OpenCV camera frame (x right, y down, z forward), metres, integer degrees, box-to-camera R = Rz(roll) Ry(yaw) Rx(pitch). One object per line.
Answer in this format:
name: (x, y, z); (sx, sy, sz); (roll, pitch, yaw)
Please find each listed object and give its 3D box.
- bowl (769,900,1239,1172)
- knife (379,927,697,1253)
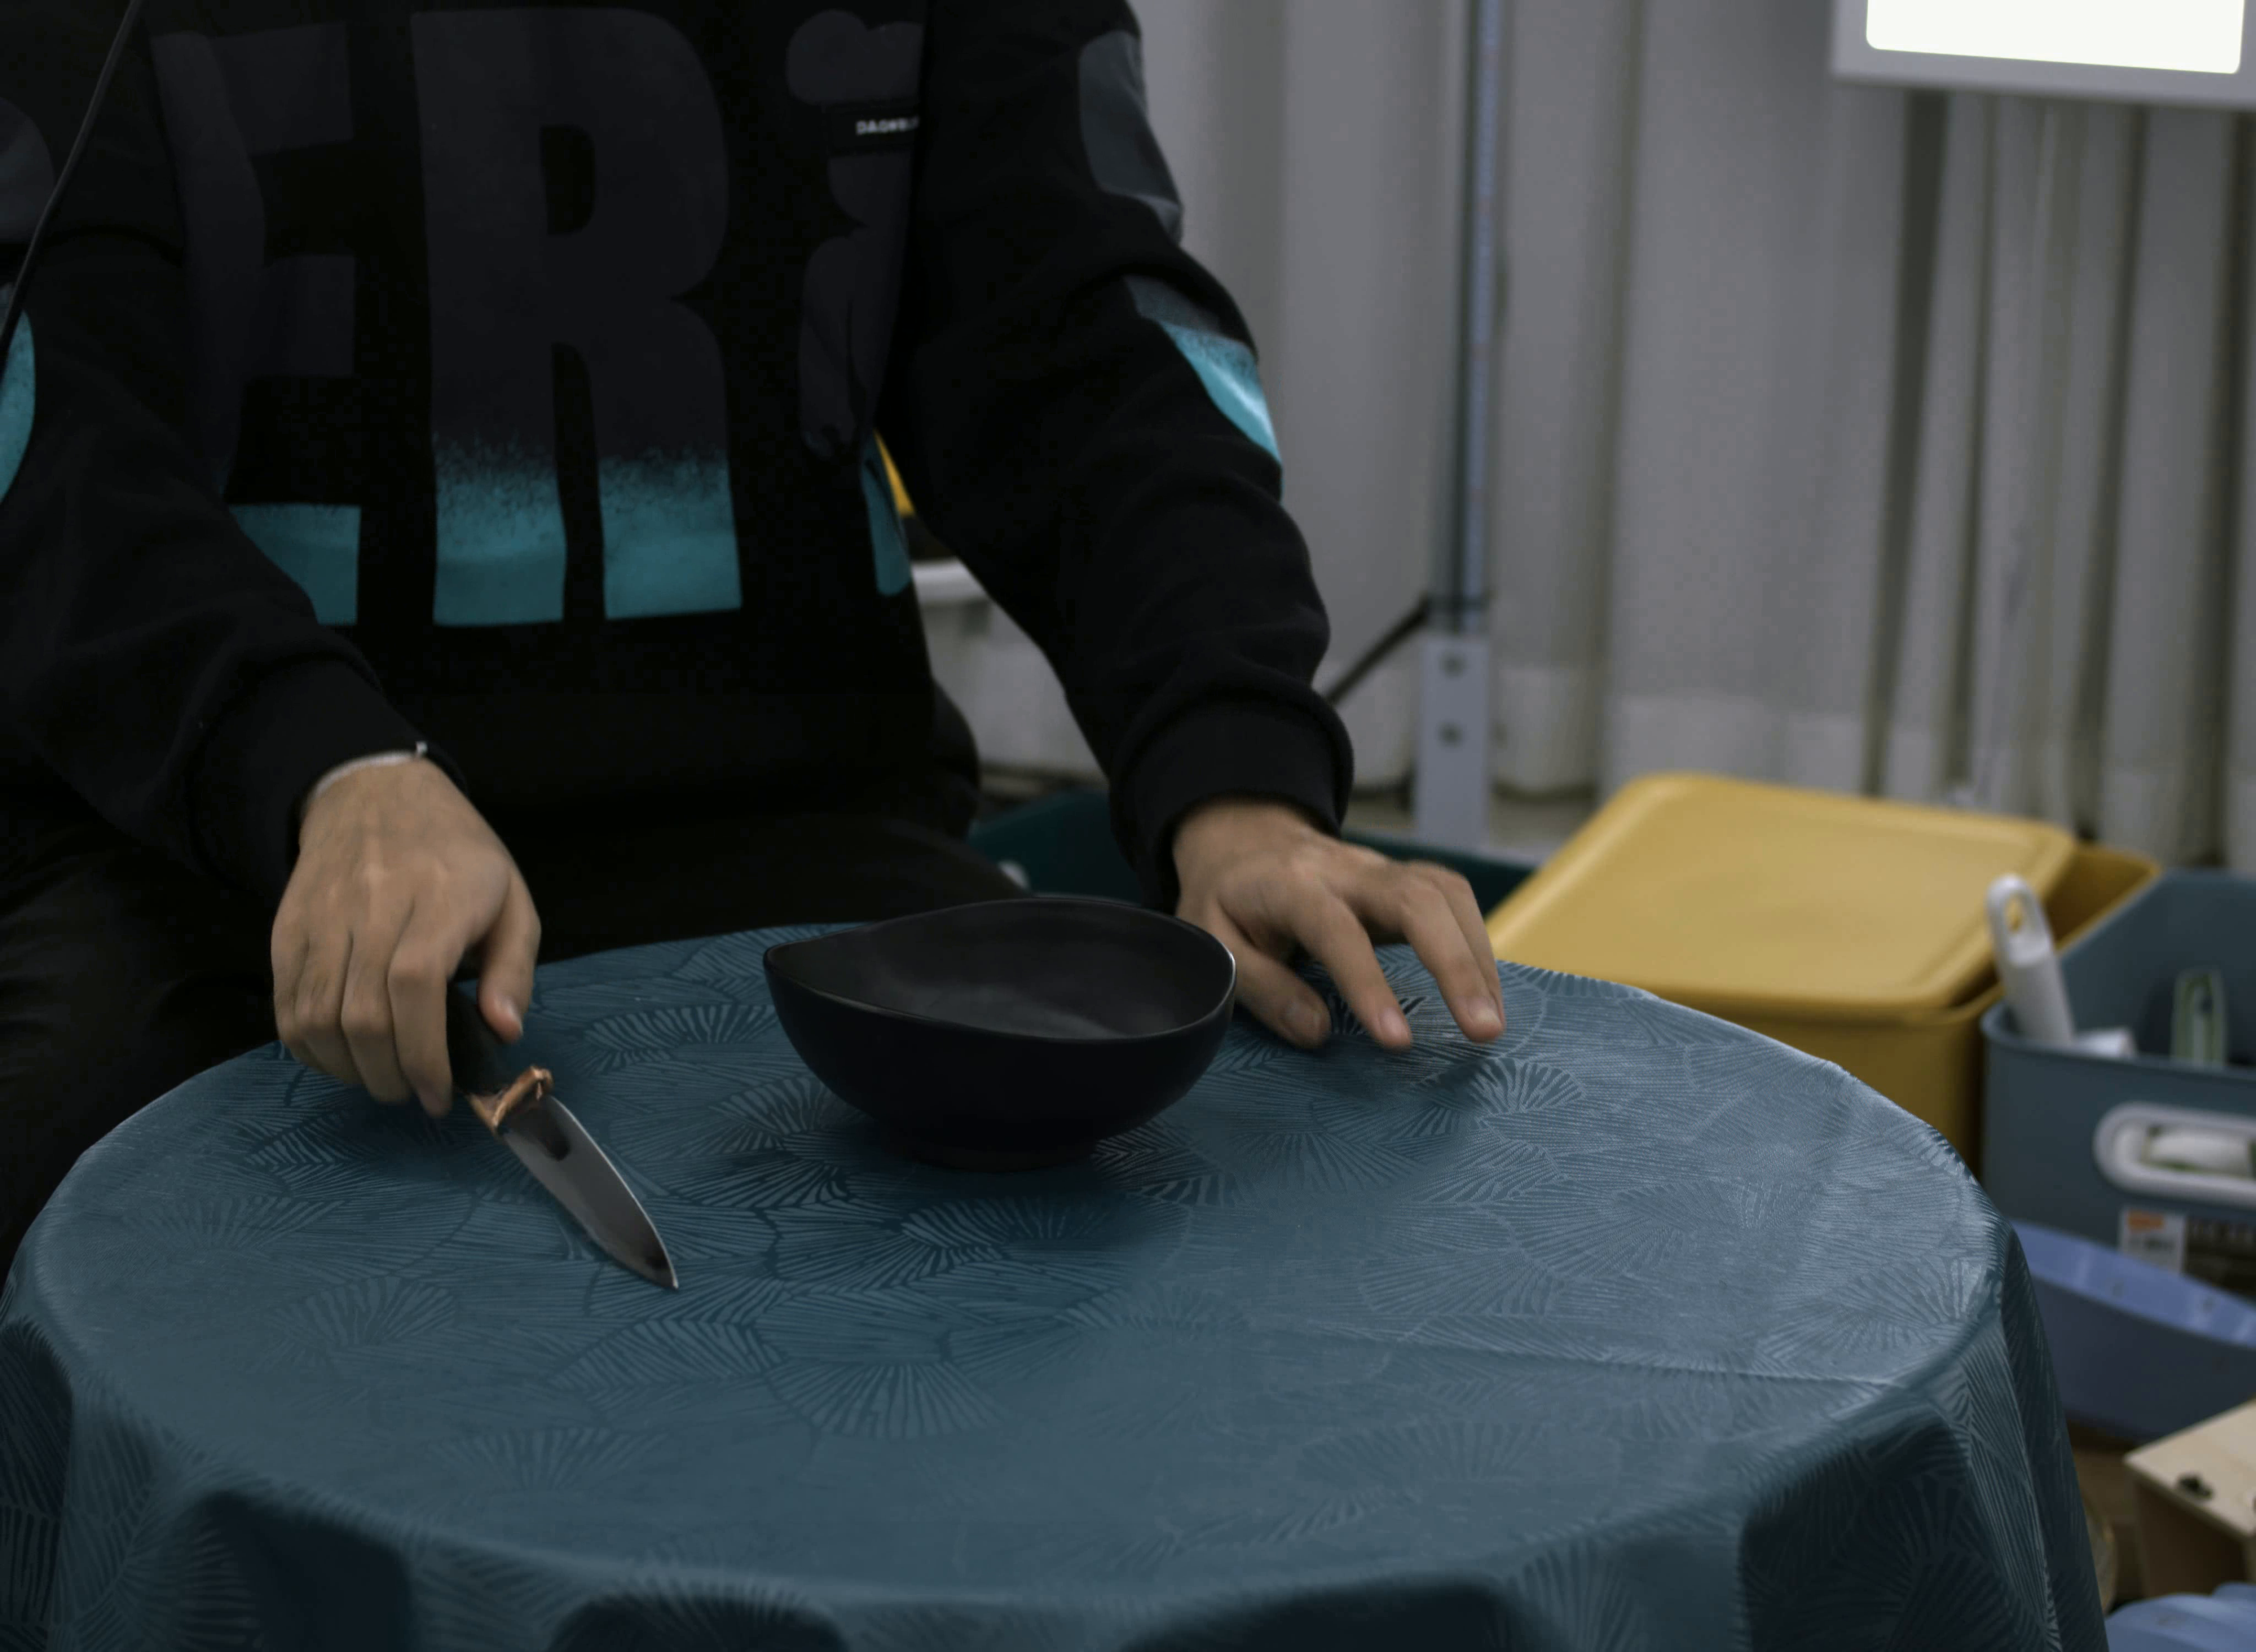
bowl: (-0.041, 0.069, 1.656); (0.138, 0.067, 0.168); (-13, 18, -40)
knife: (-0.183, 0.083, 1.614); (0.017, 0.026, 0.222); (29, 7, -39)
